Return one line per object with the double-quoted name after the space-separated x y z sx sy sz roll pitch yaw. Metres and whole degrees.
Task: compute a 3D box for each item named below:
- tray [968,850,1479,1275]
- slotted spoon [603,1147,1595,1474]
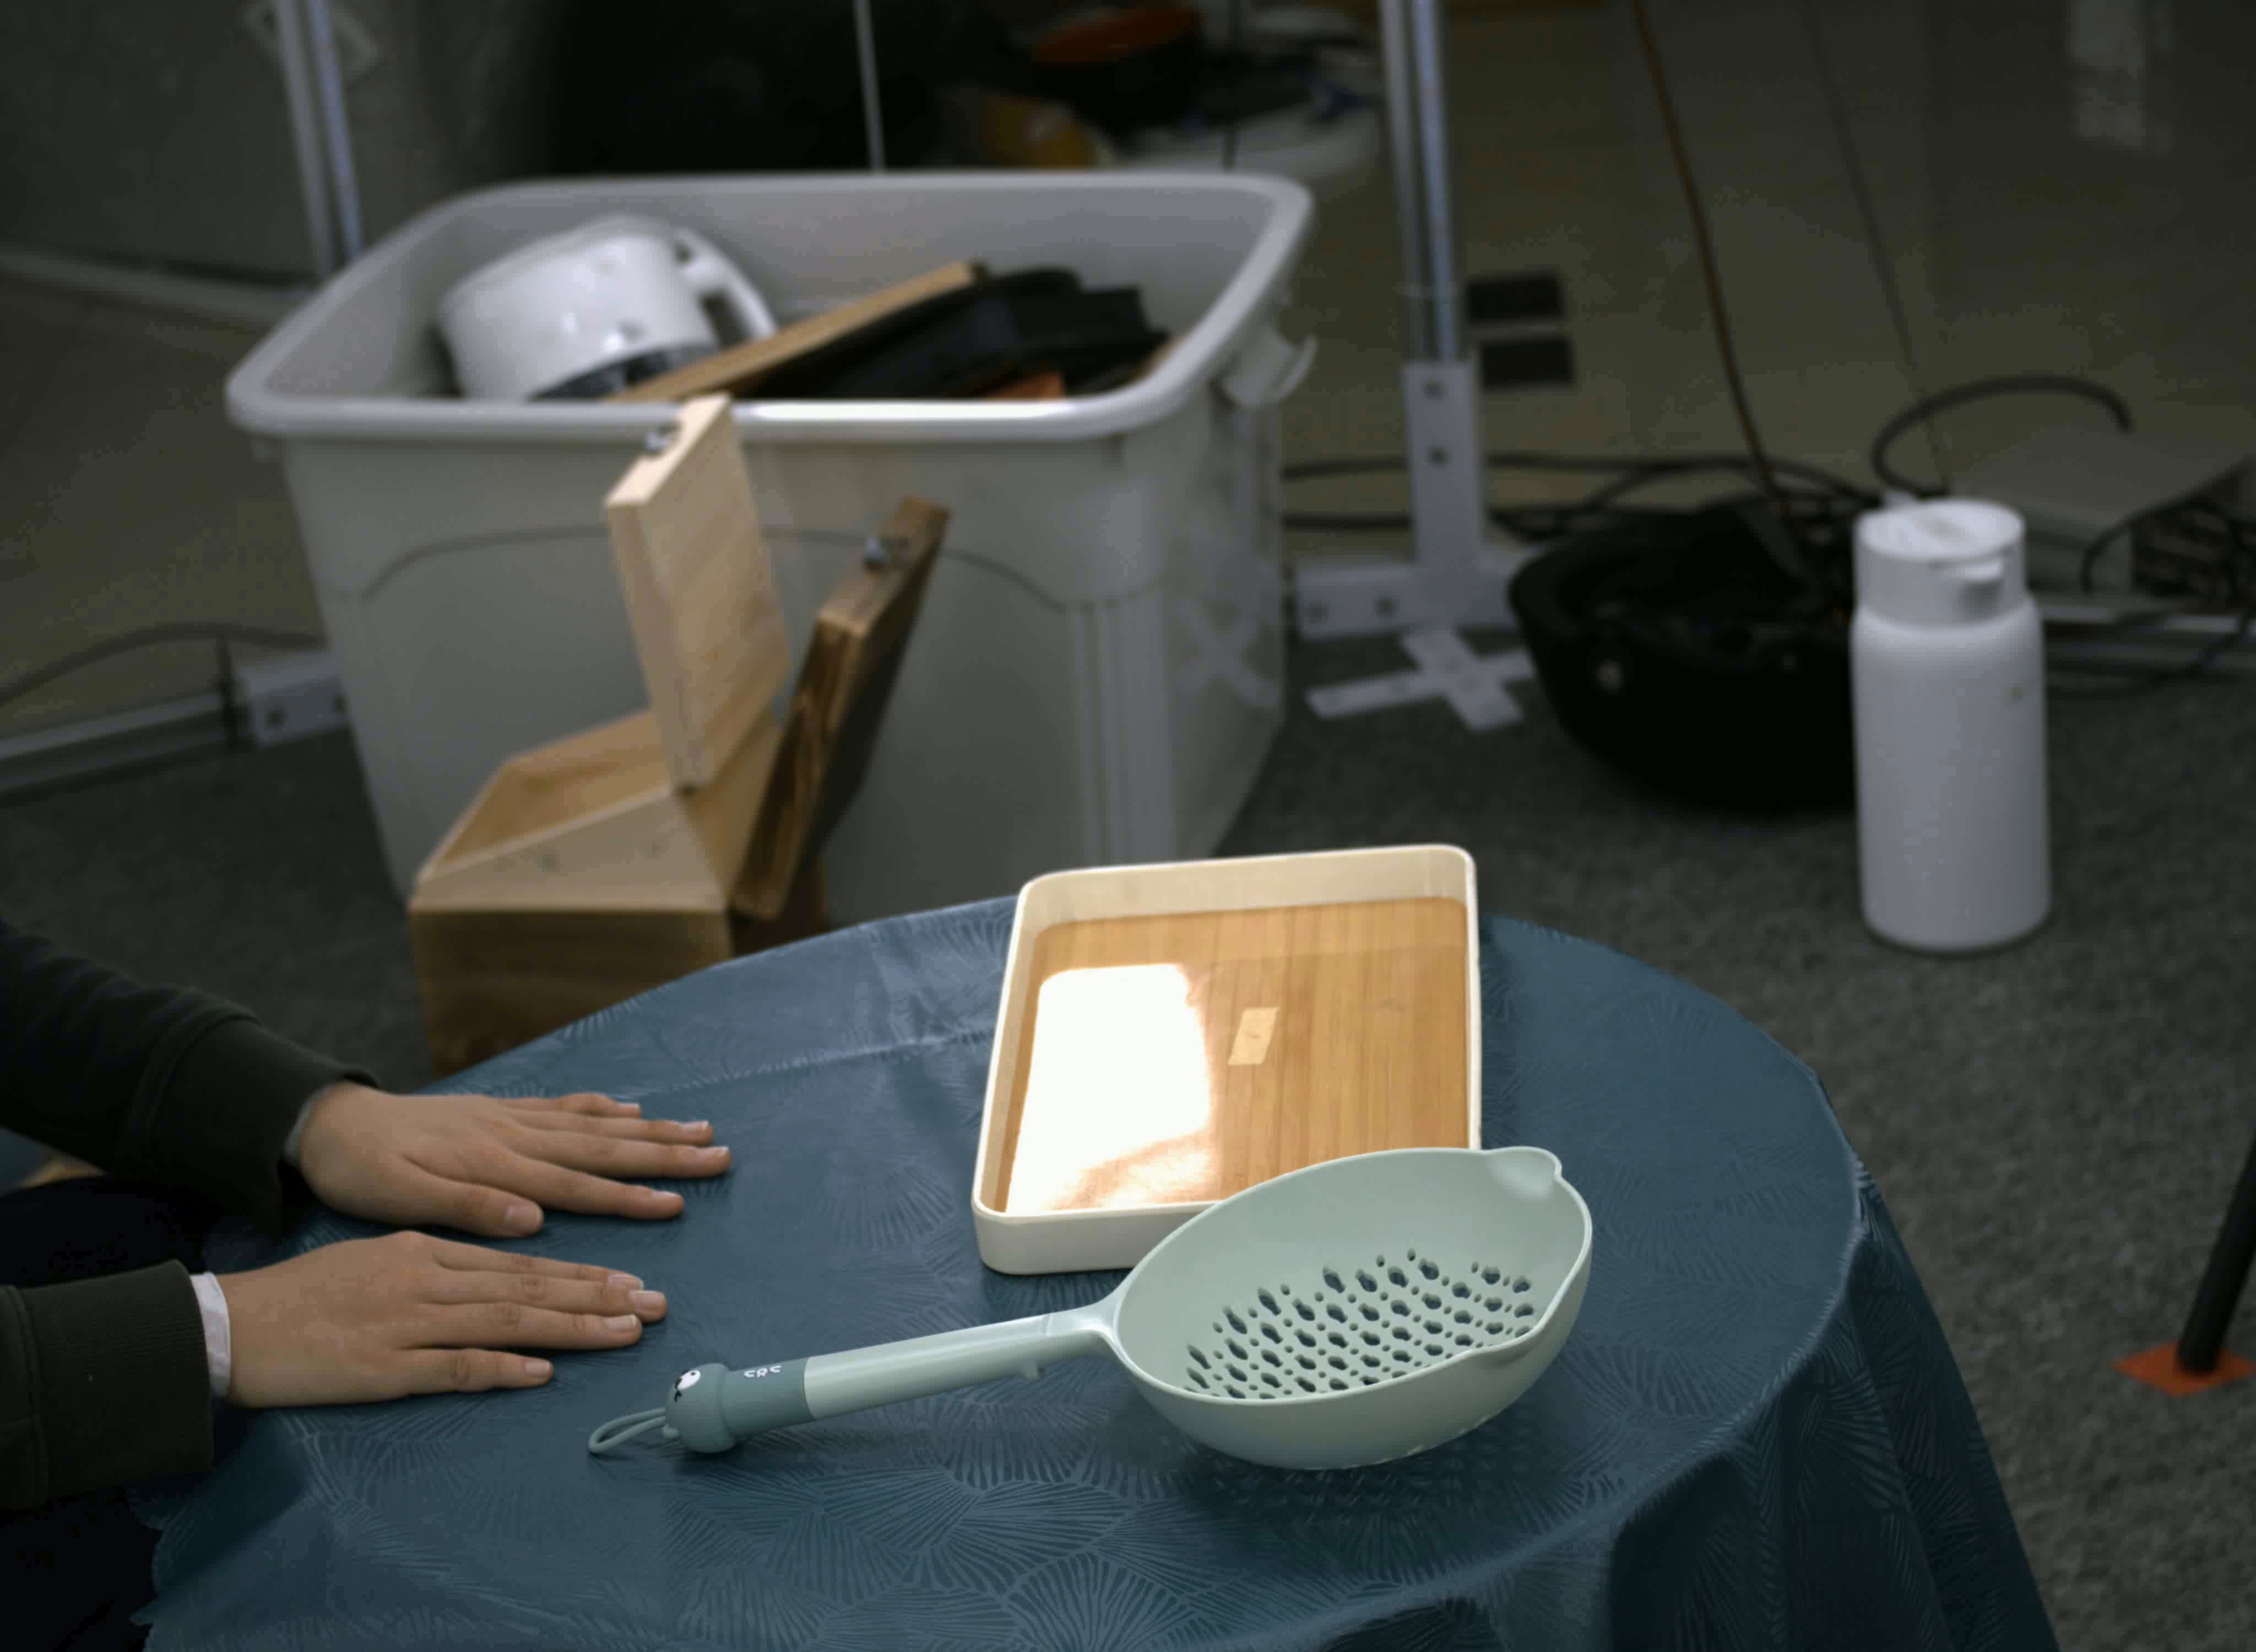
0.042 0.089 2.220 0.191 0.028 0.296 -4 25 6 "tray"
-0.014 0.183 1.985 0.358 0.076 0.167 -3 25 8 "slotted spoon"
